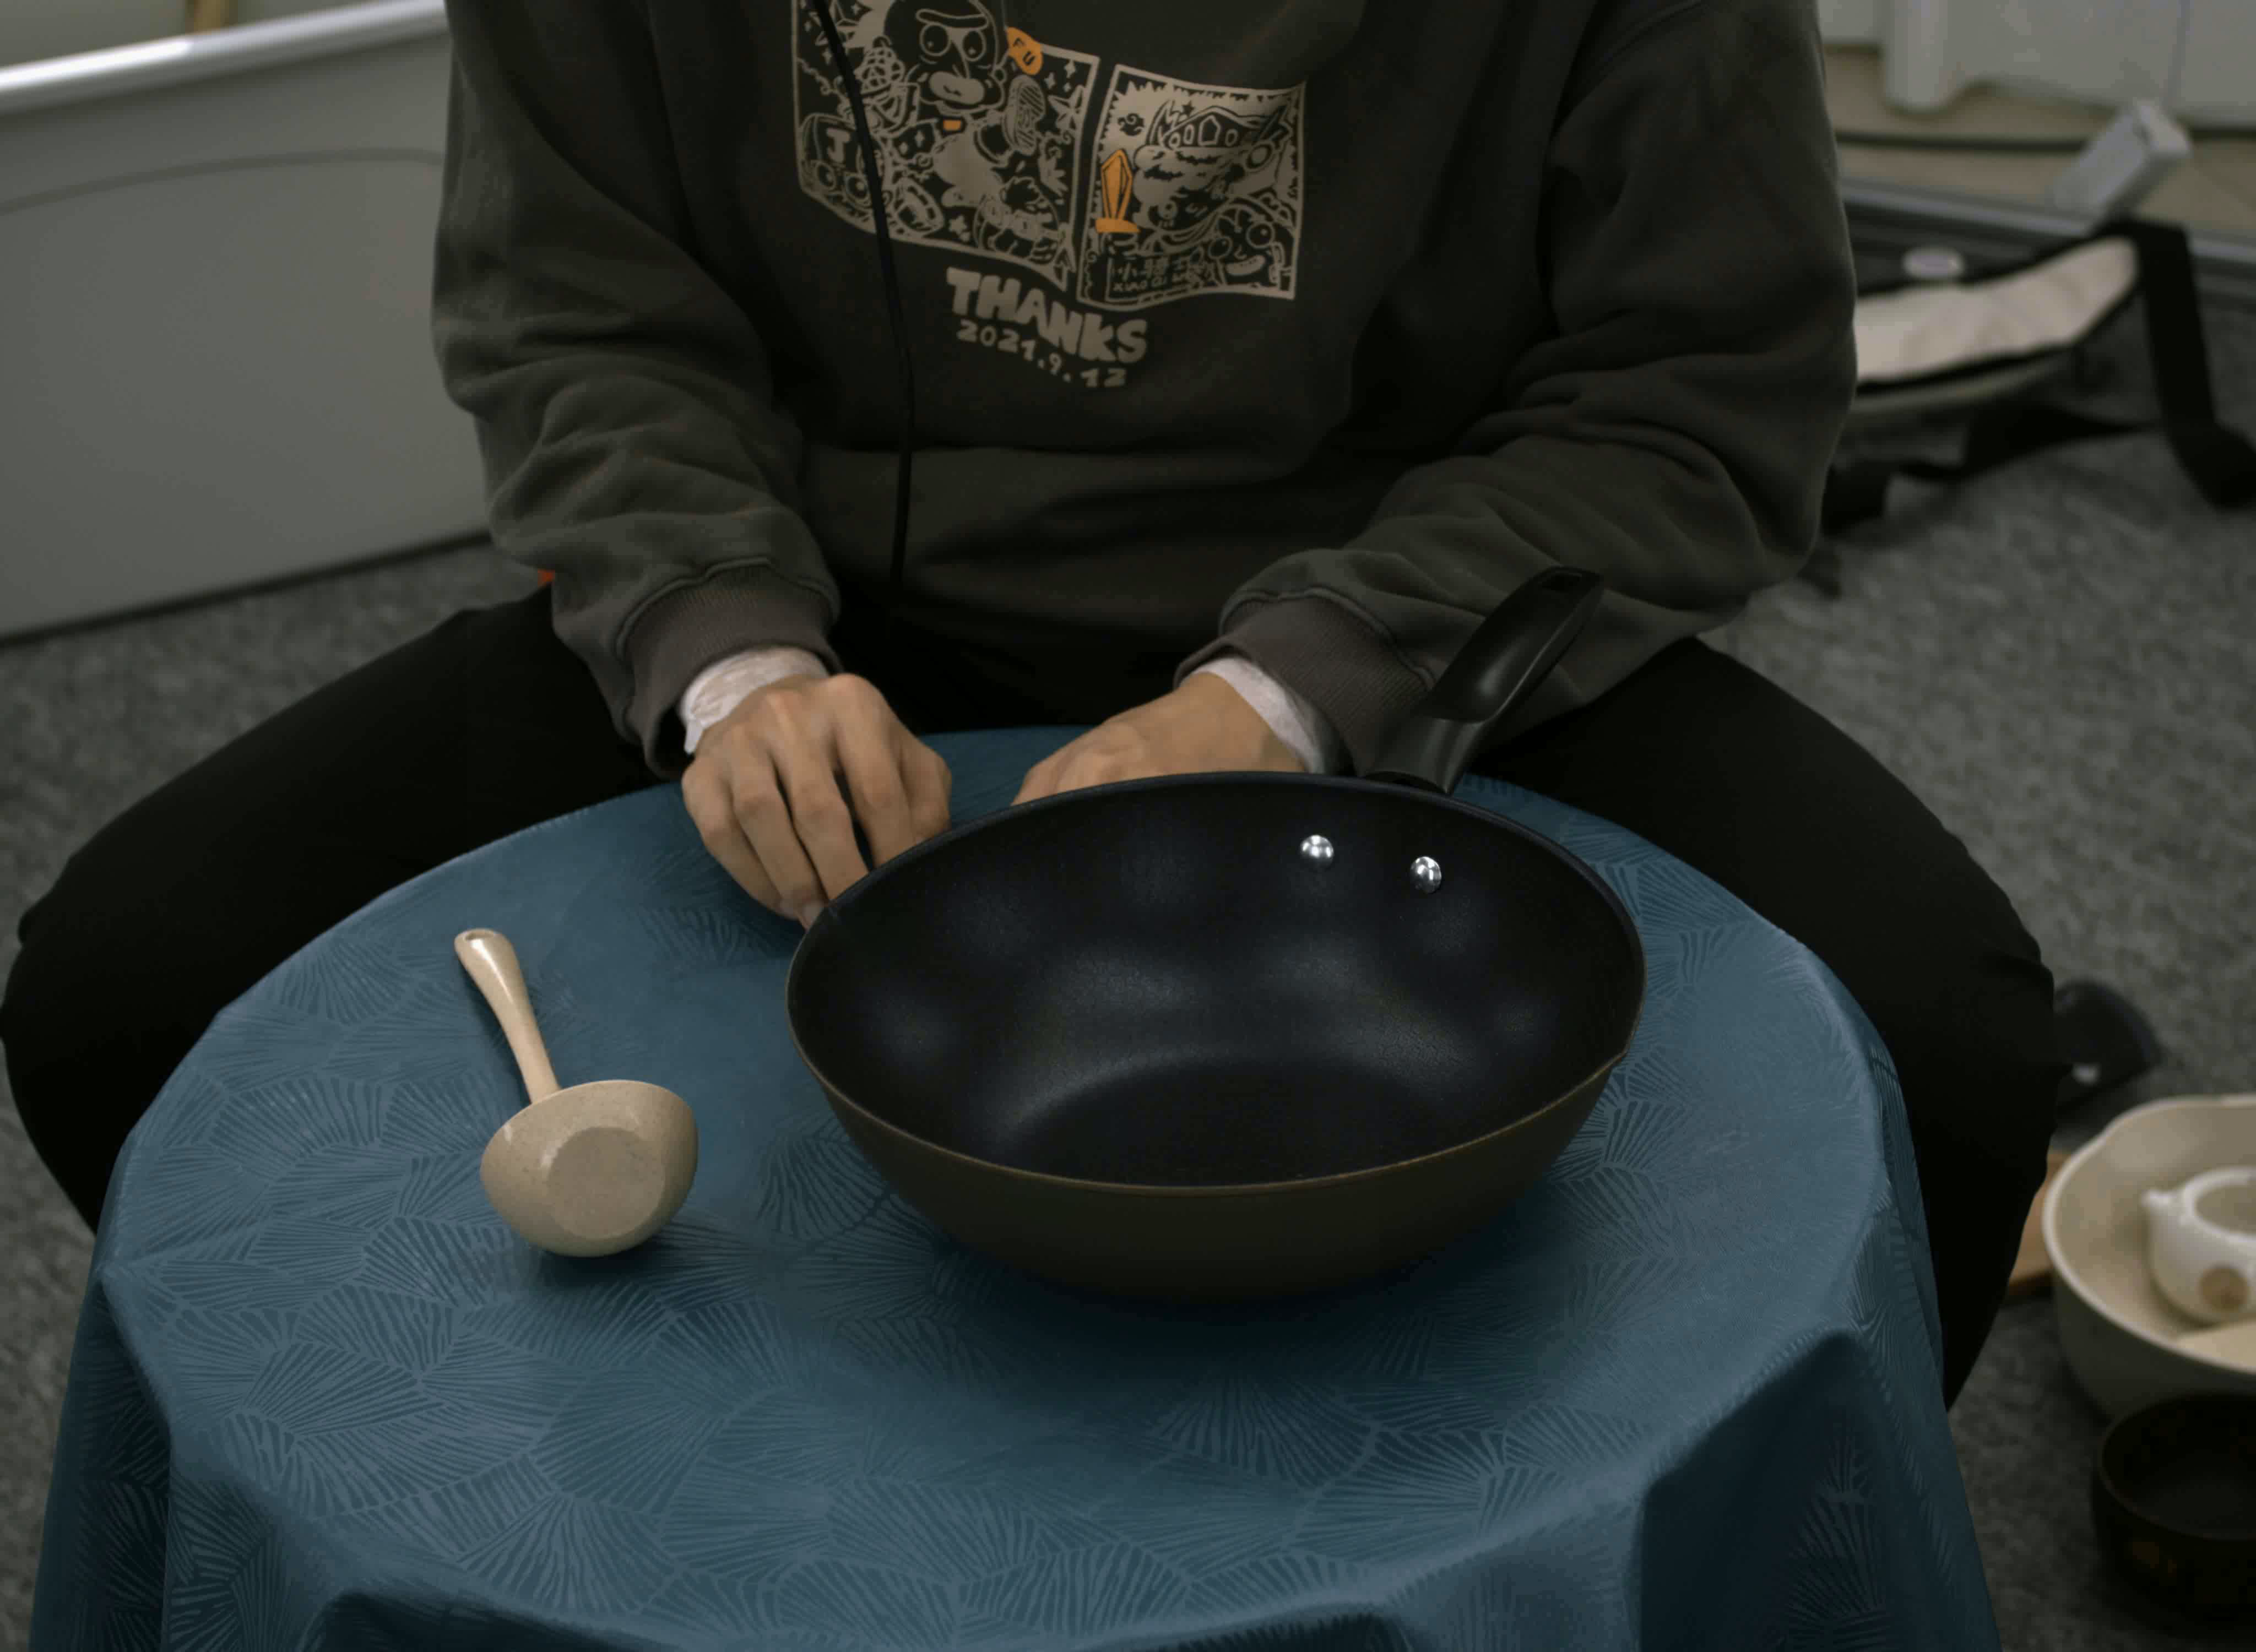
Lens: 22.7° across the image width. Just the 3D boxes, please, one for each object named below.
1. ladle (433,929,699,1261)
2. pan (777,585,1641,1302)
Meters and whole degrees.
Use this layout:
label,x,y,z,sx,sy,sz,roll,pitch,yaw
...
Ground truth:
label,x,y,z,sx,sy,sz,roll,pitch,yaw
ladle,-0.208,0.065,1.912,0.072,0.072,0.257,-16,30,-13
pan,0.068,0.040,1.921,0.286,0.086,0.471,10,29,24
